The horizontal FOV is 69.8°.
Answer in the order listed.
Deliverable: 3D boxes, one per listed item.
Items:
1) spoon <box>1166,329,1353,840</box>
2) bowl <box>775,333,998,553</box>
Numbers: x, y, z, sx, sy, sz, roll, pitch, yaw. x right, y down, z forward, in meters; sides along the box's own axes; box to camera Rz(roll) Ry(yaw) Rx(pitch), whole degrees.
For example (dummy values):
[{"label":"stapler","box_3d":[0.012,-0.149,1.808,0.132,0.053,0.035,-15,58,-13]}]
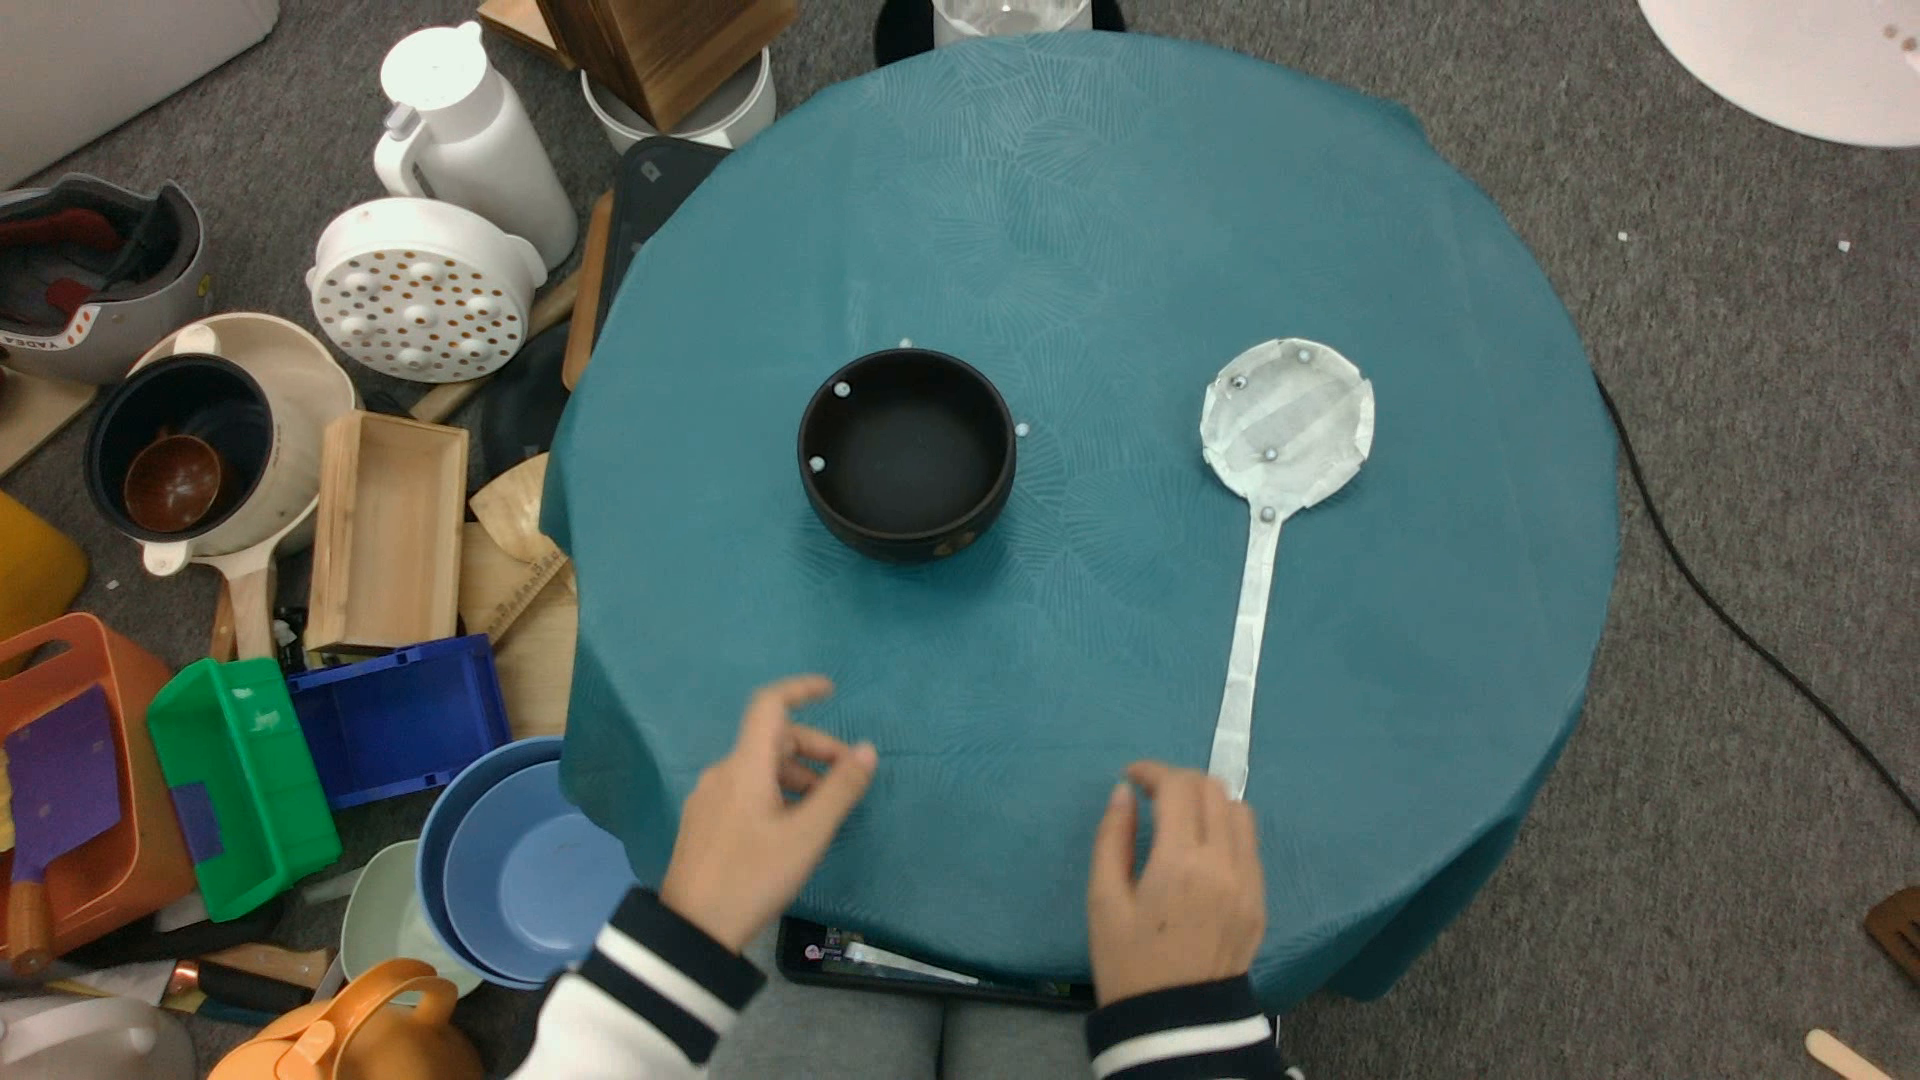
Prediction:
[{"label":"spoon","box_3d":[0.141,0.018,0.730,0.100,0.059,0.278,13,68,9]},{"label":"bowl","box_3d":[-0.038,-0.046,0.749,0.118,0.069,0.118,0,68,1]}]
